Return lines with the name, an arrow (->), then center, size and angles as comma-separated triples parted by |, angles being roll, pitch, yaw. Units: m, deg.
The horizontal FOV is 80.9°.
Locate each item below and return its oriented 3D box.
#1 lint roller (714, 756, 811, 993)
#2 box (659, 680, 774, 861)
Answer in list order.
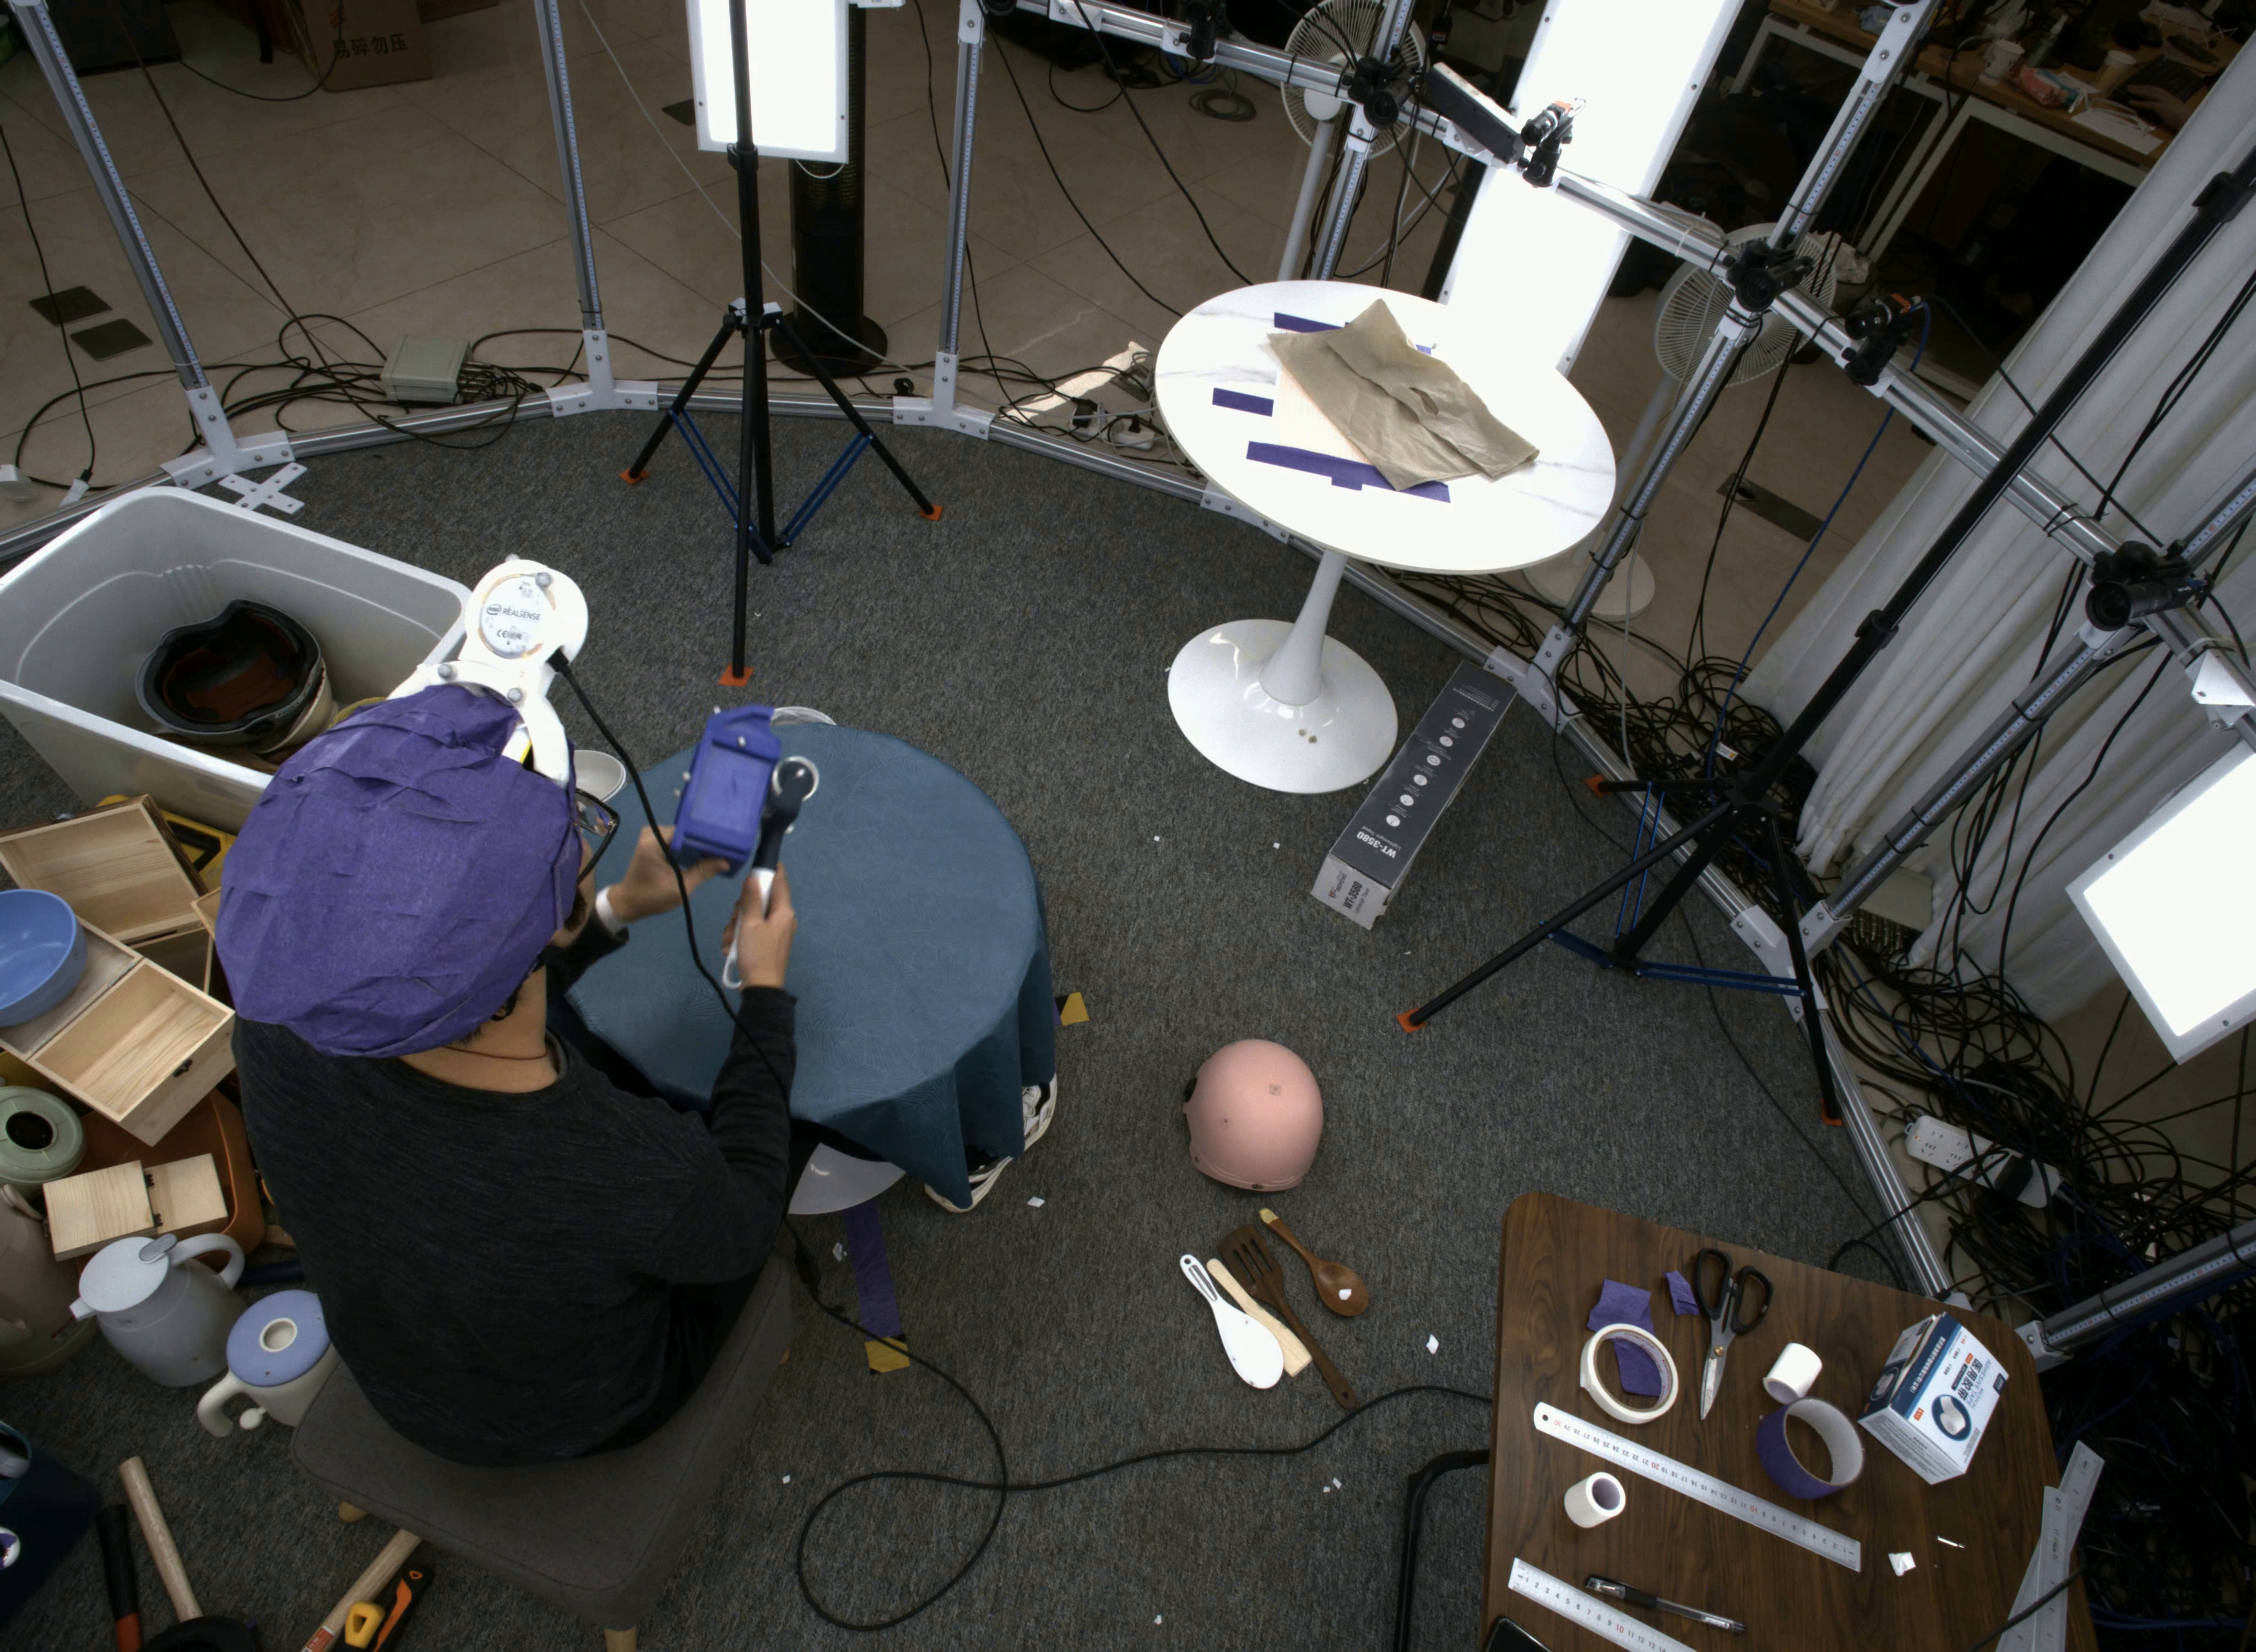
lint roller -> -0.402, 0.057, 1.406 | 0.051, 0.173, 0.248 | 13, 79, -22
box -> -0.437, -0.058, 1.379 | 0.083, 0.123, 0.179 | 14, 73, -21
